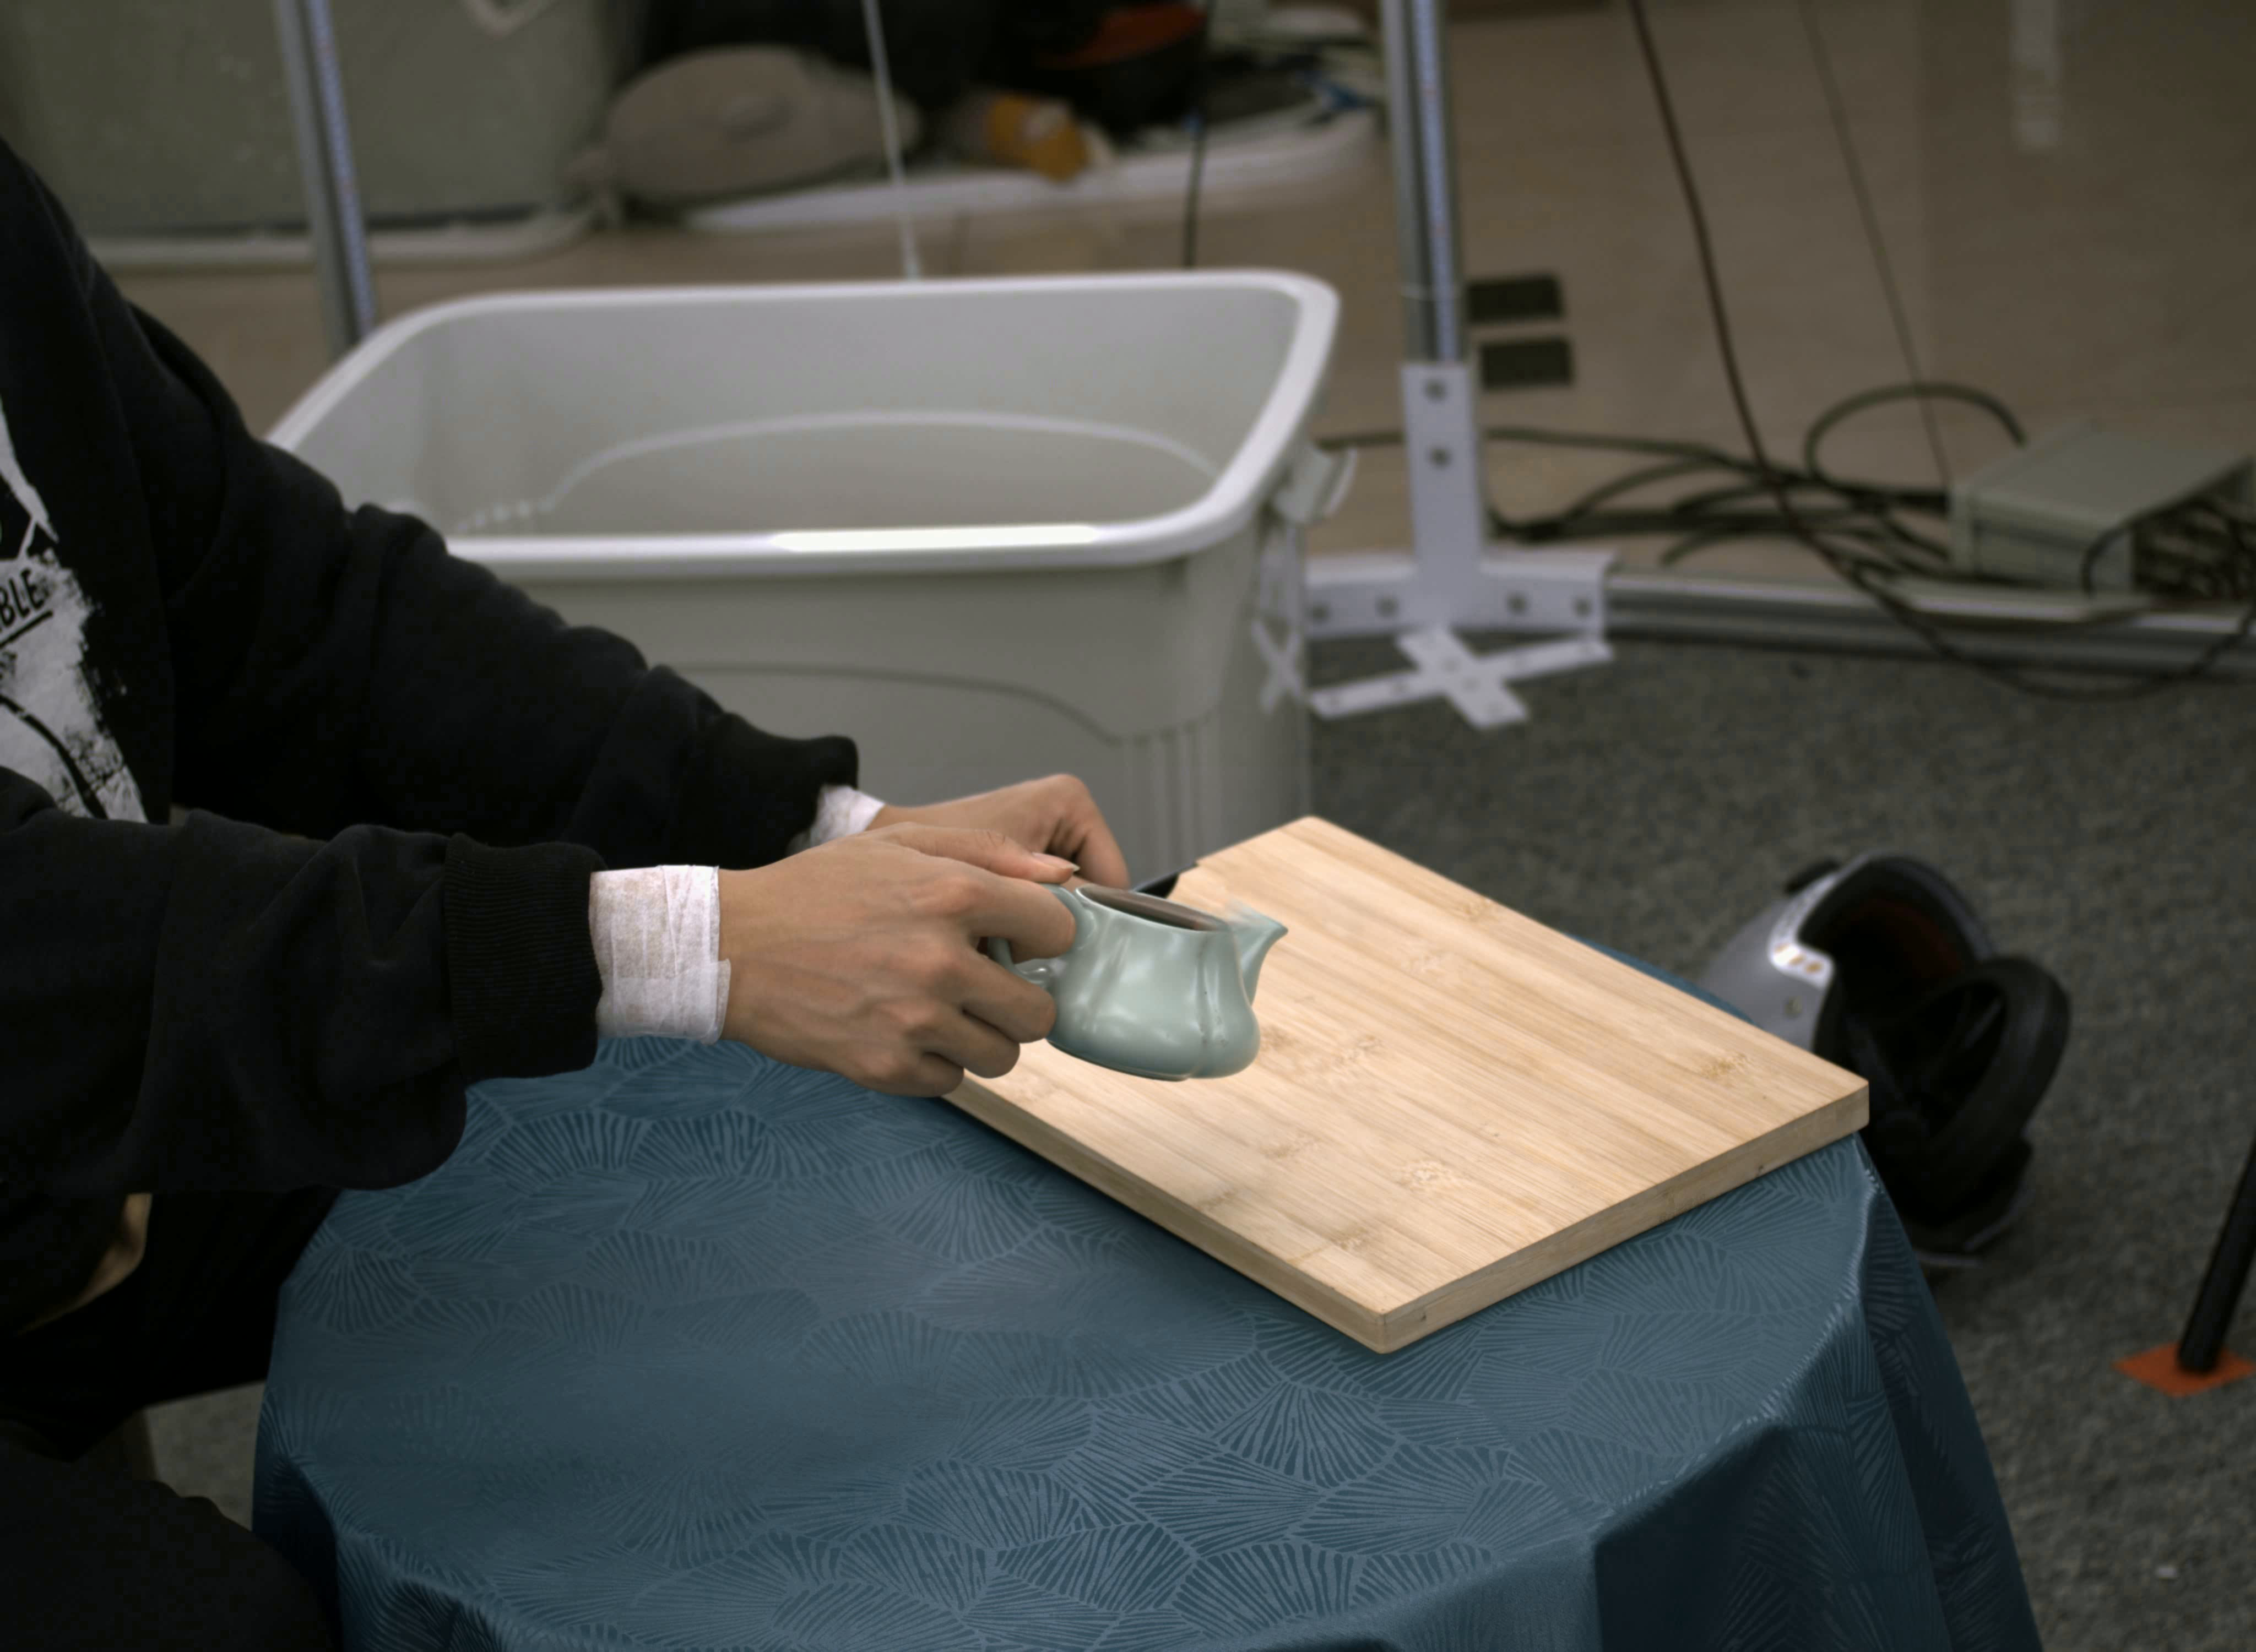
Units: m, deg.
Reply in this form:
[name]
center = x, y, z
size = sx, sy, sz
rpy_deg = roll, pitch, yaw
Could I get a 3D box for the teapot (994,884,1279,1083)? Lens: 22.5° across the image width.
[teapot]
center = 0.000, 0.055, 2.040
size = 0.137, 0.062, 0.095
rpy_deg = 8, 12, -44

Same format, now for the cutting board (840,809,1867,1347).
[cutting board]
center = 0.081, 0.091, 2.205
size = 0.249, 0.024, 0.345
rpy_deg = -23, 31, -31
